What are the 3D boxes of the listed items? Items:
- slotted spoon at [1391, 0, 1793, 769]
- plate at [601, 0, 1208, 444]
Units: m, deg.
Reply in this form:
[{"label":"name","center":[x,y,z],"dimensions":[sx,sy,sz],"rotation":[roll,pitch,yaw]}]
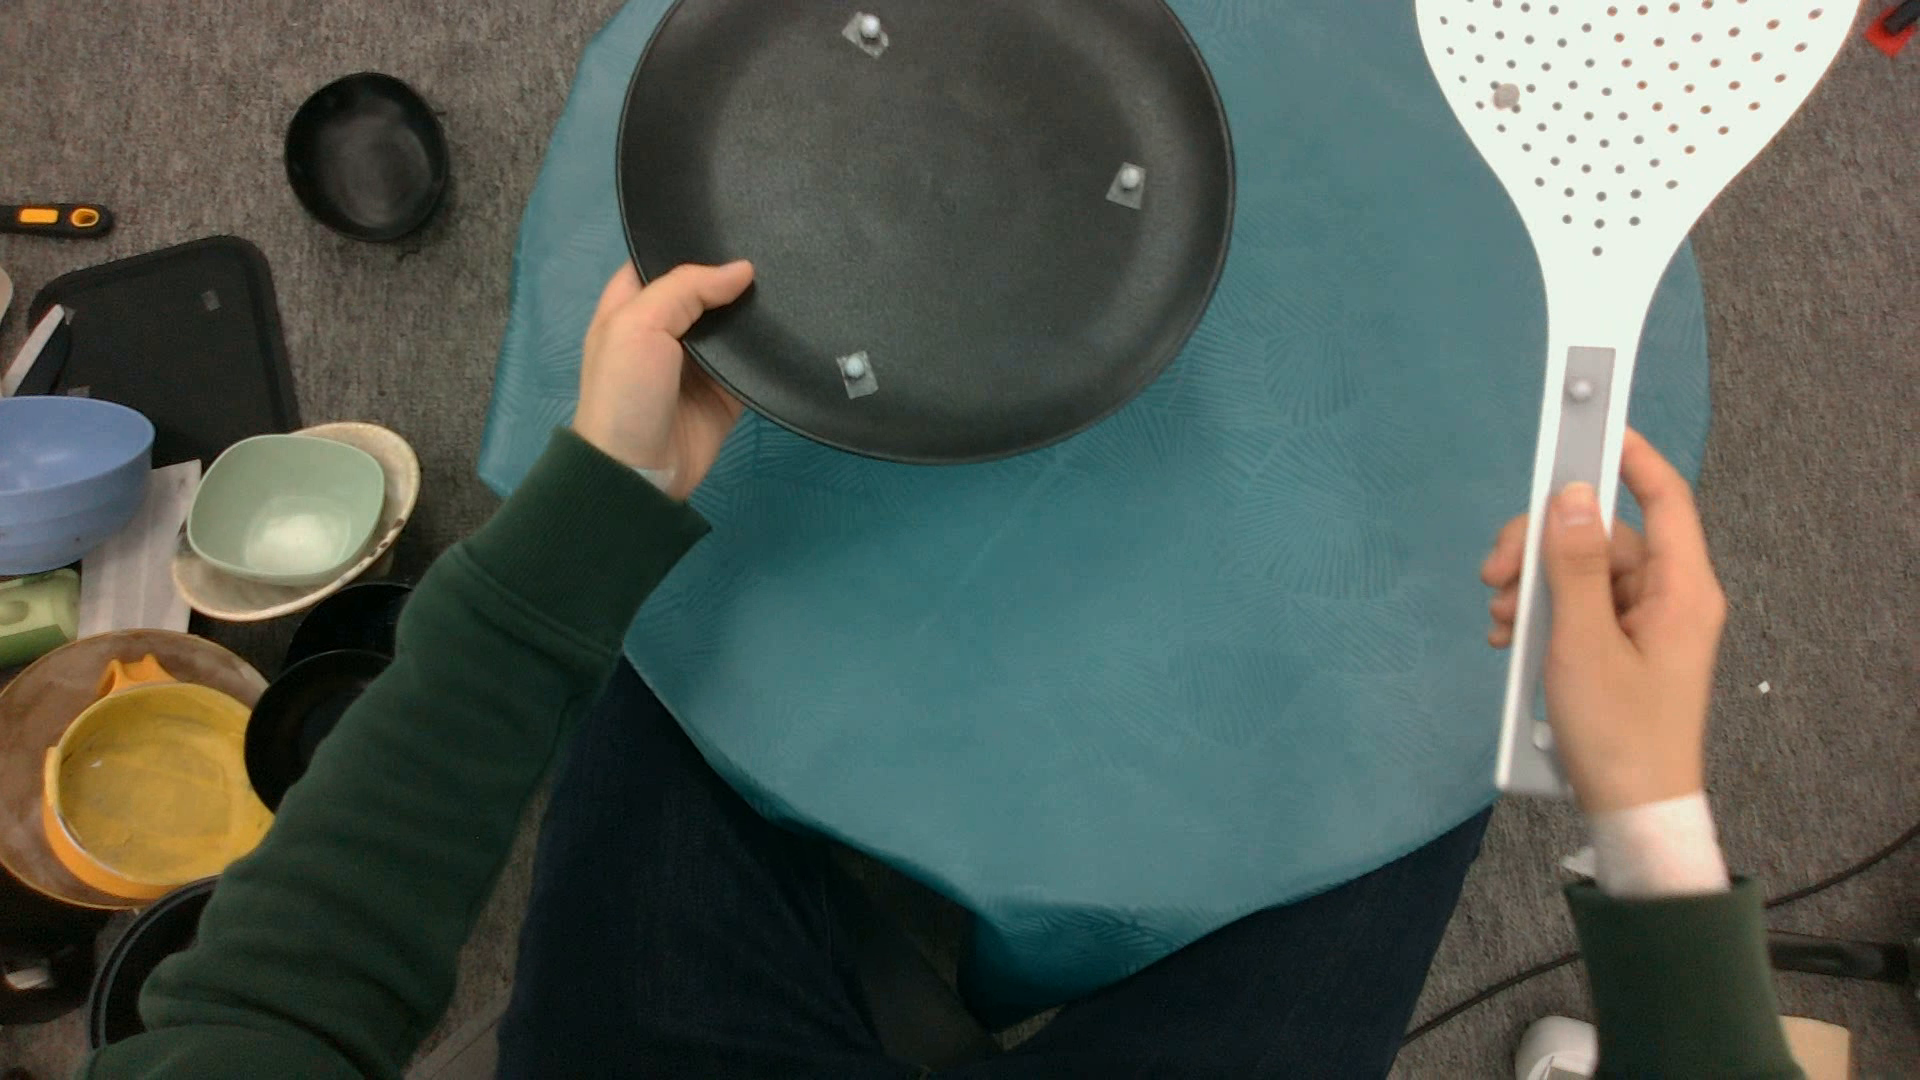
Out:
[{"label":"slotted spoon","center":[0.215,-0.092,0.499],"dimensions":[0.136,0.046,0.350],"rotation":[6,85,16]},{"label":"plate","center":[-0.020,-0.153,0.560],"dimensions":[0.244,0.023,0.245],"rotation":[2,77,-7]}]
